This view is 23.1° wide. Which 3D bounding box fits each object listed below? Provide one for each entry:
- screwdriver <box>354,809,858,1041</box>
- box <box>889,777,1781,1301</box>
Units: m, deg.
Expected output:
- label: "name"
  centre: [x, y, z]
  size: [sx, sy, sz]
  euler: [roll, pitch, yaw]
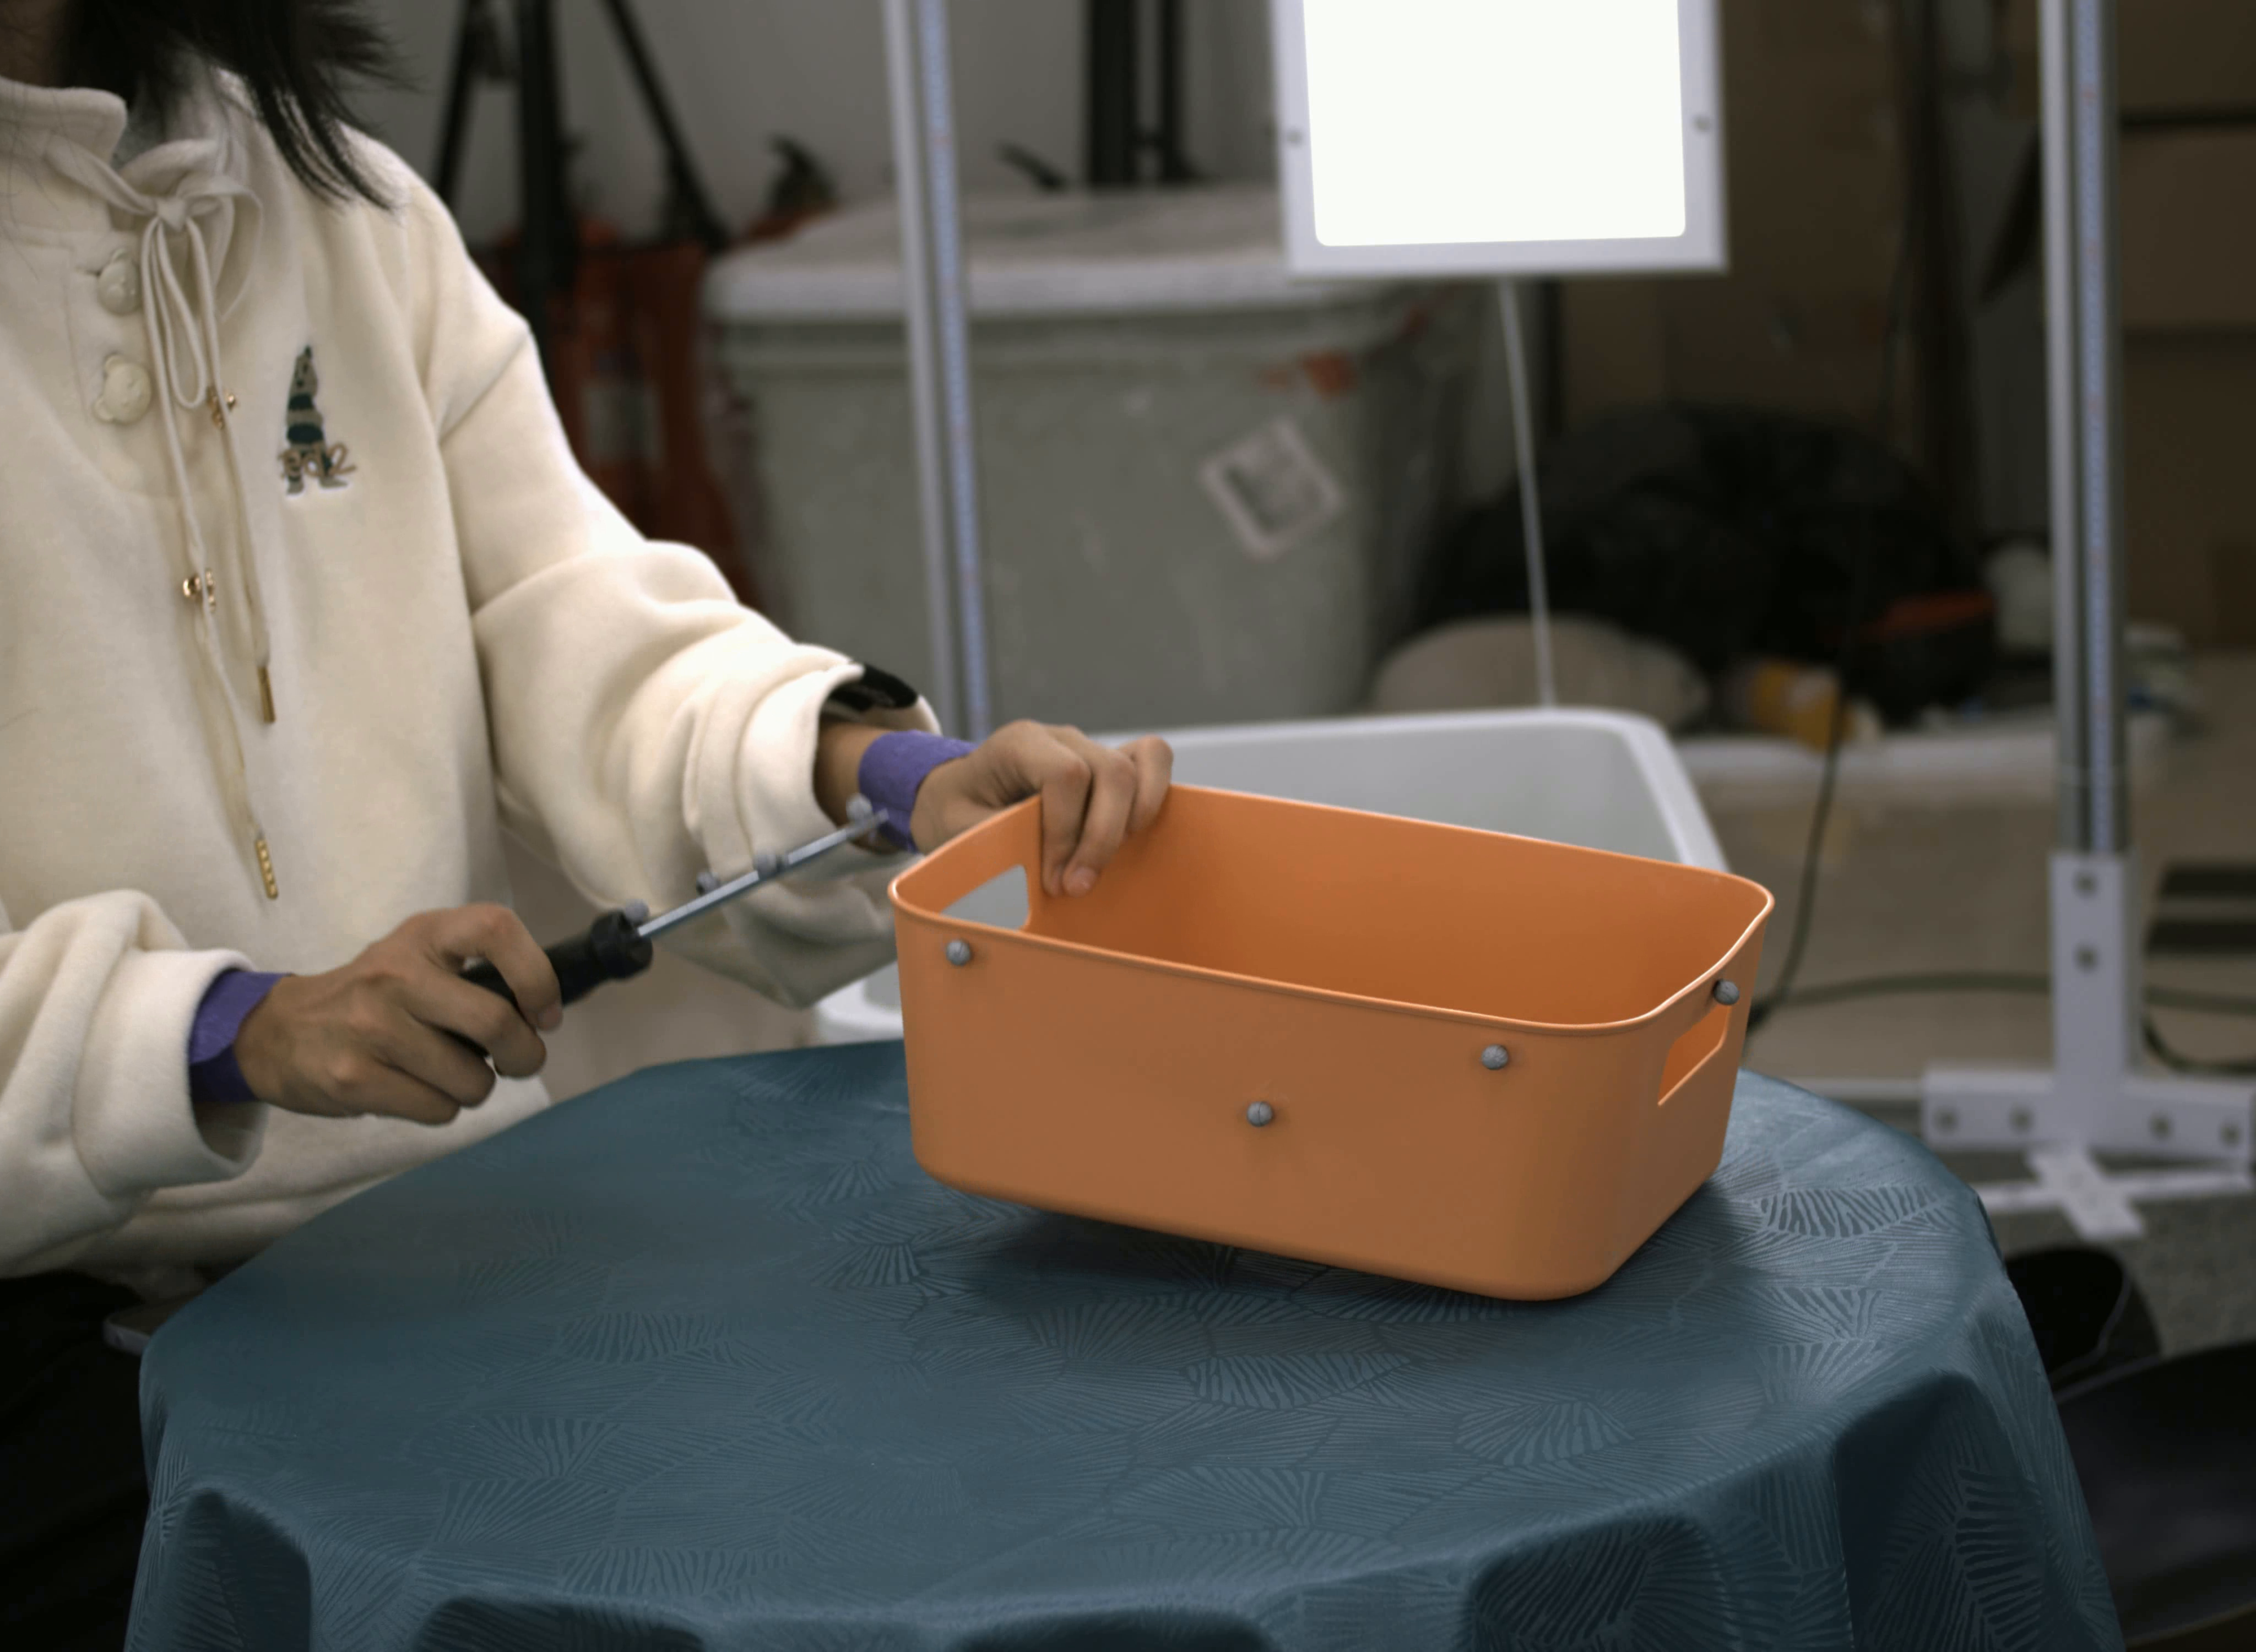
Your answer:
- label: "screwdriver"
  centre: [-0.172, 0.030, 1.832]
  size: [0.200, 0.031, 0.031]
  euler: [-21, 8, 21]
- label: "box"
  centre: [0.069, 0.069, 1.838]
  size: [0.277, 0.103, 0.195]
  euler: [9, 19, 24]
